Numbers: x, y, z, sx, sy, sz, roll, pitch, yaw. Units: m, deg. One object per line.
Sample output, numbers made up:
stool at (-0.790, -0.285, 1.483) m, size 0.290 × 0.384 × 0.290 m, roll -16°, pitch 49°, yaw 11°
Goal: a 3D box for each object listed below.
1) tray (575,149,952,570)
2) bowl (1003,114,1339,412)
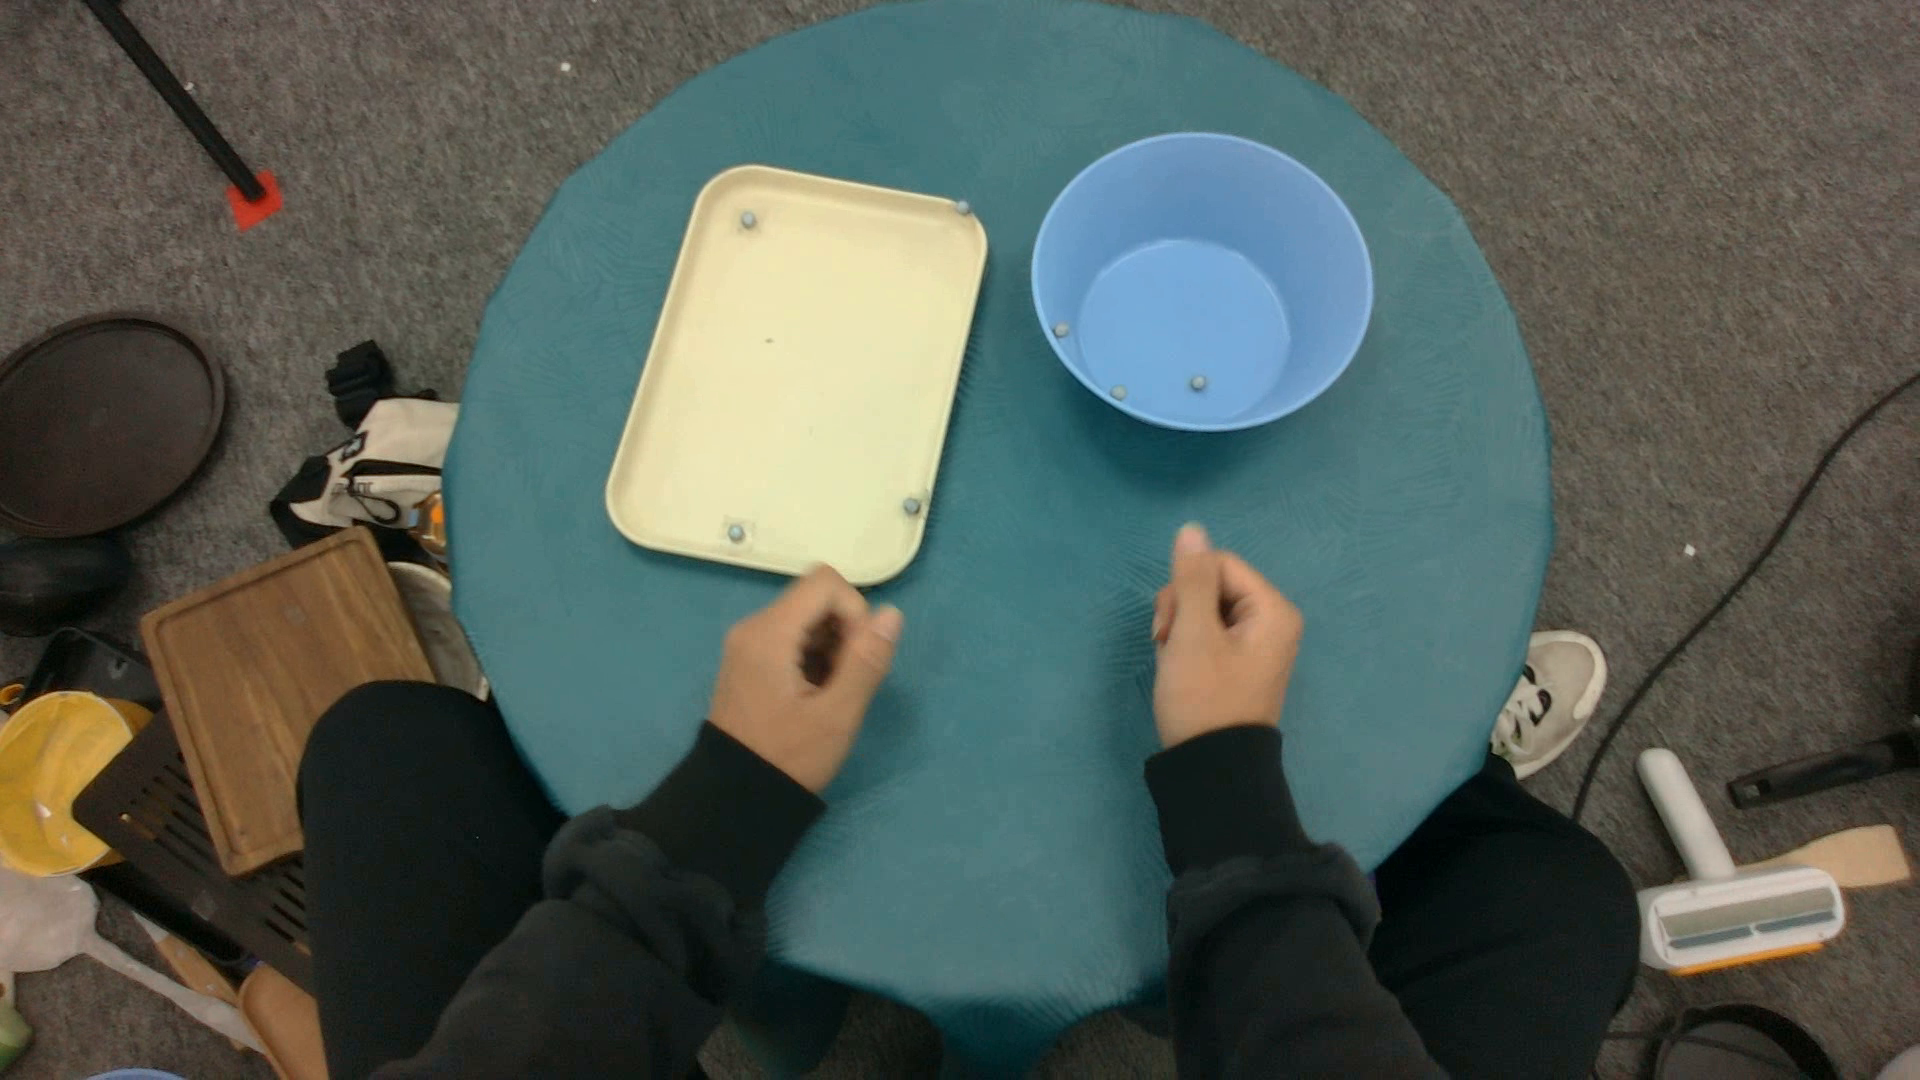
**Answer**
tray at (-0.103, -0.103, 0.756) m, size 0.171 × 0.017 × 0.240 m, roll 10°, pitch 70°, yaw 3°
bowl at (0.110, -0.138, 0.746) m, size 0.176 × 0.070 × 0.176 m, roll 0°, pitch 70°, yaw 0°
